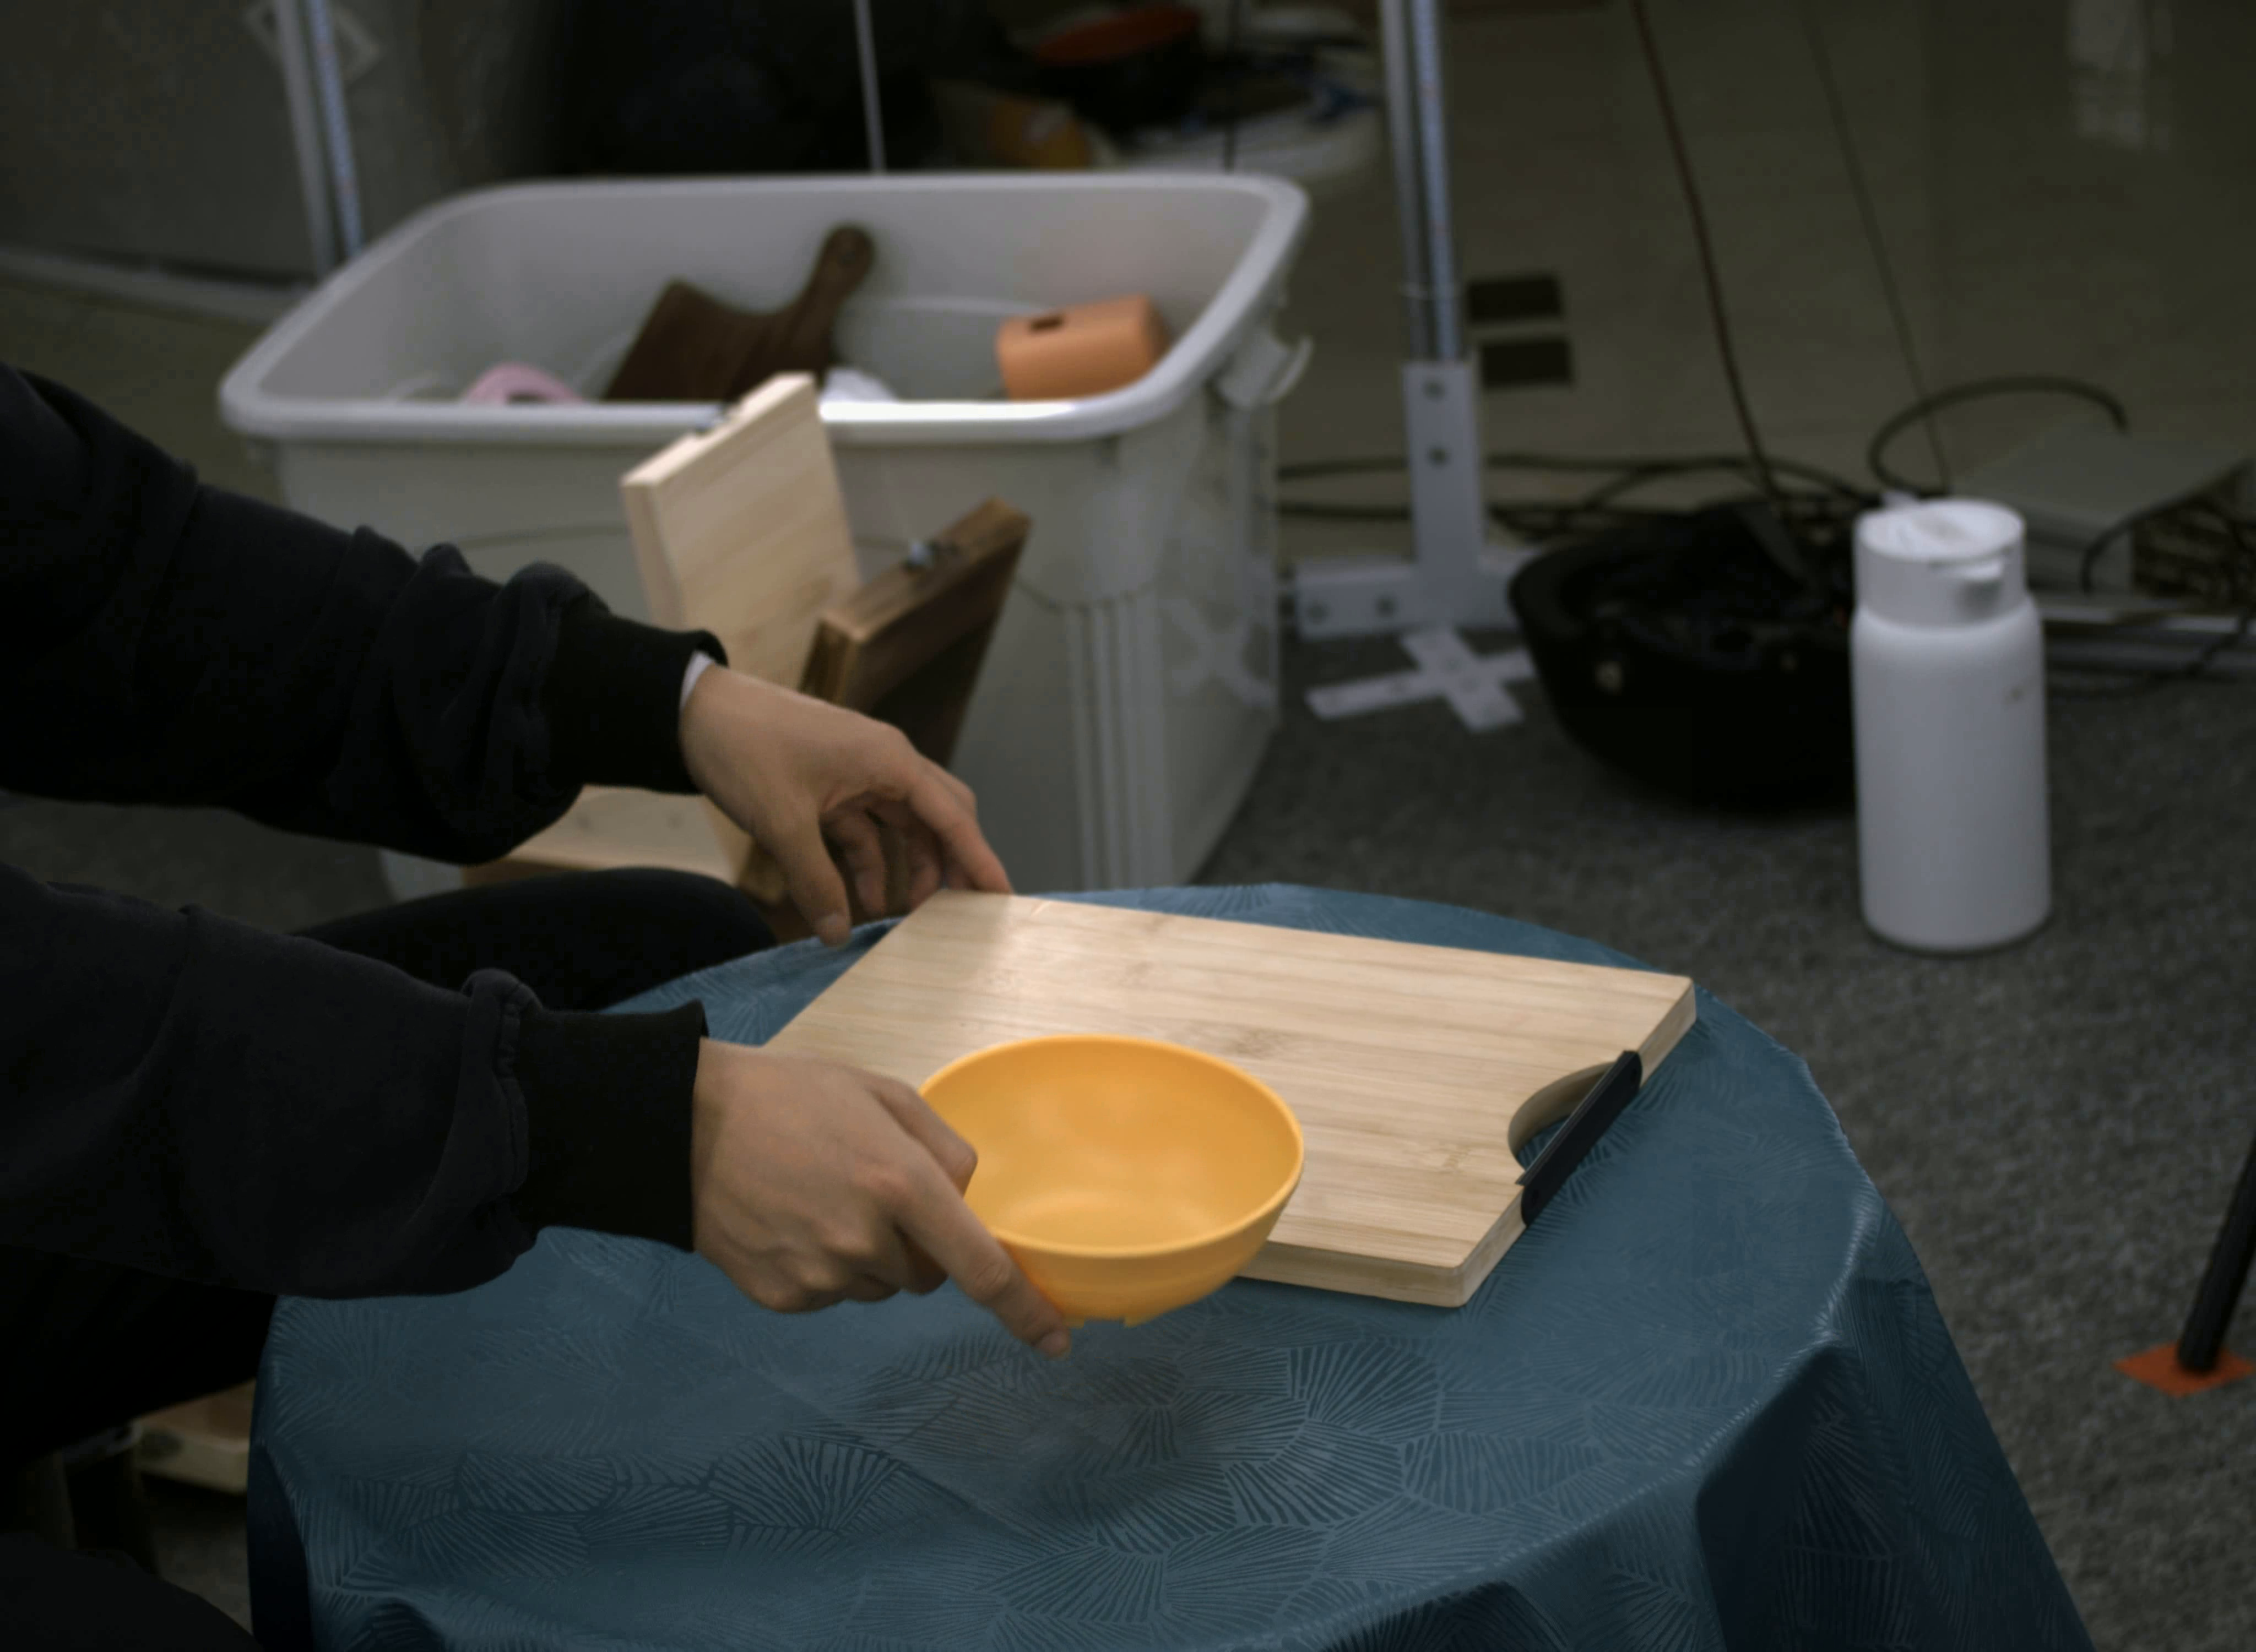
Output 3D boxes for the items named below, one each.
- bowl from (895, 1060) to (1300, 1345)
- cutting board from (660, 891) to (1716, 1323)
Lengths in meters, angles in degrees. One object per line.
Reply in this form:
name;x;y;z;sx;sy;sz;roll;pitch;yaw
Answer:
bowl;-0.012;0.142;2.006;0.145;0.061;0.143;2;27;-1
cutting board;0.025;0.103;2.206;0.347;0.024;0.247;6;28;25
